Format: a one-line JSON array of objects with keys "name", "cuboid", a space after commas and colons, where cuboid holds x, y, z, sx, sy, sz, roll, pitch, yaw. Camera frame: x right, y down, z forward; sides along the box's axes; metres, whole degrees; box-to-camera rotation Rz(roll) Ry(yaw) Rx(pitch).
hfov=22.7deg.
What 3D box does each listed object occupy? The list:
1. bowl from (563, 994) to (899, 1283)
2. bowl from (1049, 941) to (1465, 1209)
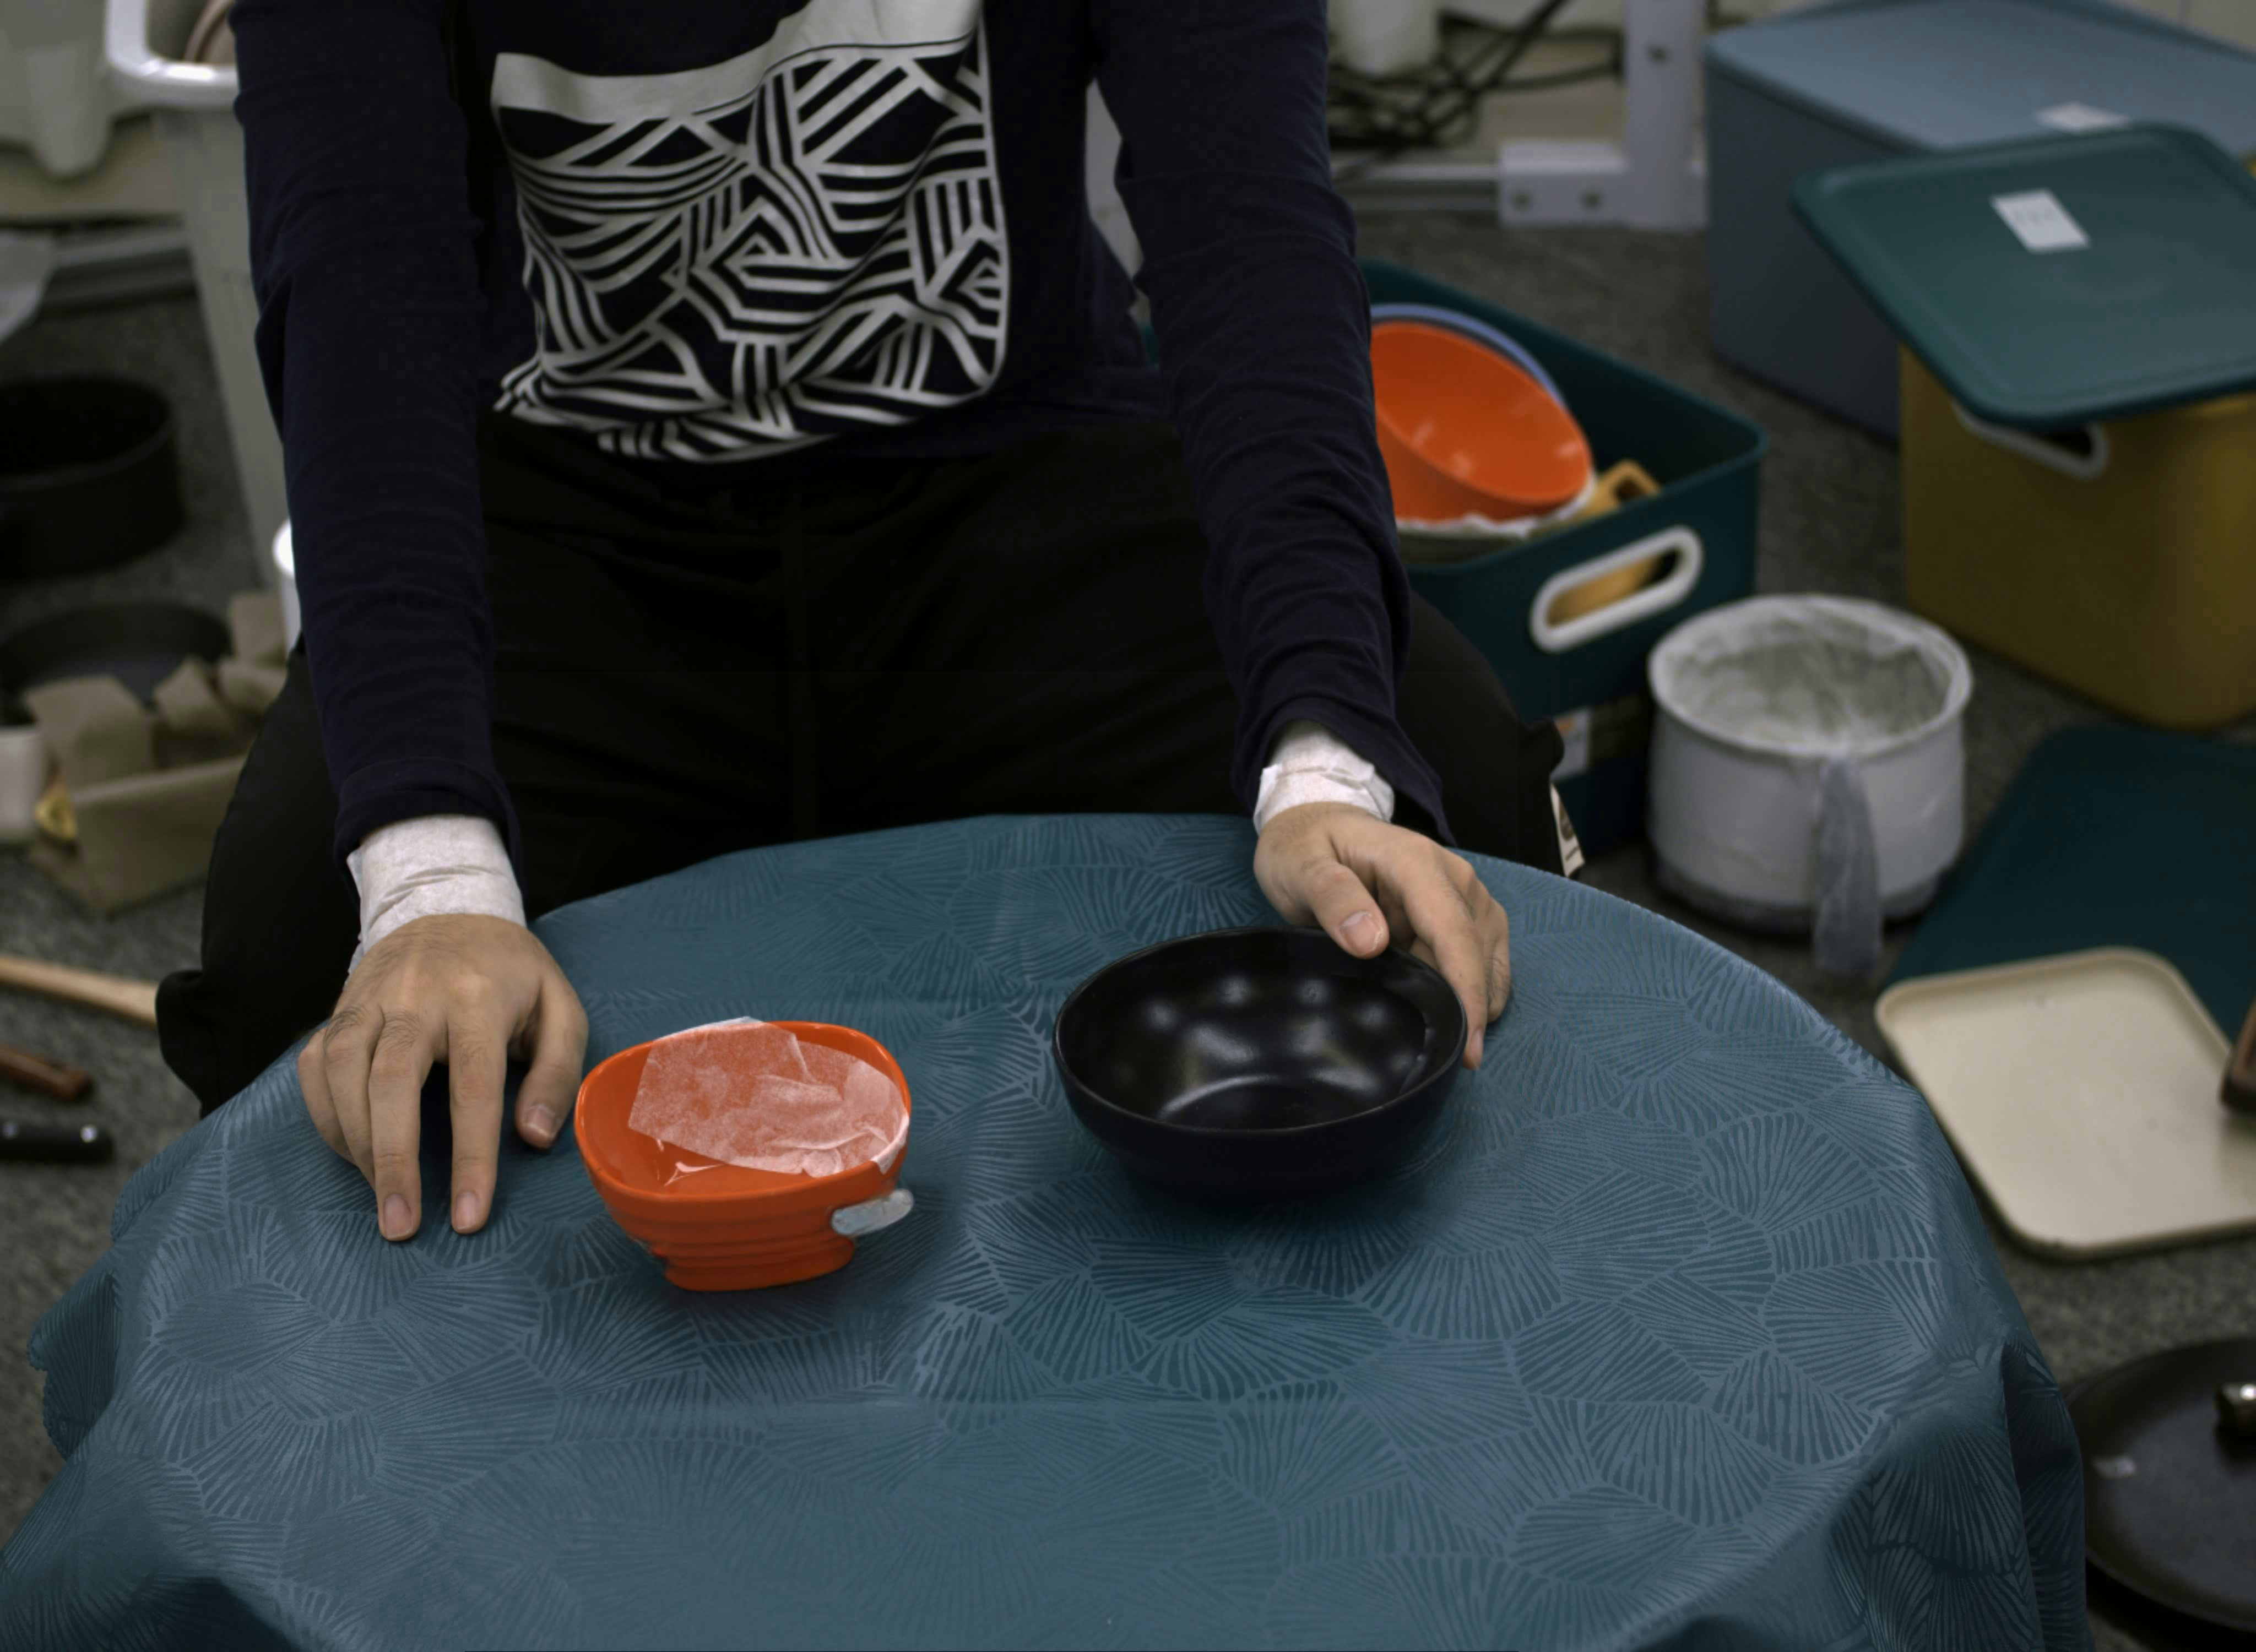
[{"name": "bowl", "cuboid": [-0.126, 0.108, 1.833, 0.118, 0.051, 0.121, -7, 32, 5]}, {"name": "bowl", "cuboid": [0.044, 0.090, 1.872, 0.139, 0.049, 0.142, -3, 23, 2]}]
